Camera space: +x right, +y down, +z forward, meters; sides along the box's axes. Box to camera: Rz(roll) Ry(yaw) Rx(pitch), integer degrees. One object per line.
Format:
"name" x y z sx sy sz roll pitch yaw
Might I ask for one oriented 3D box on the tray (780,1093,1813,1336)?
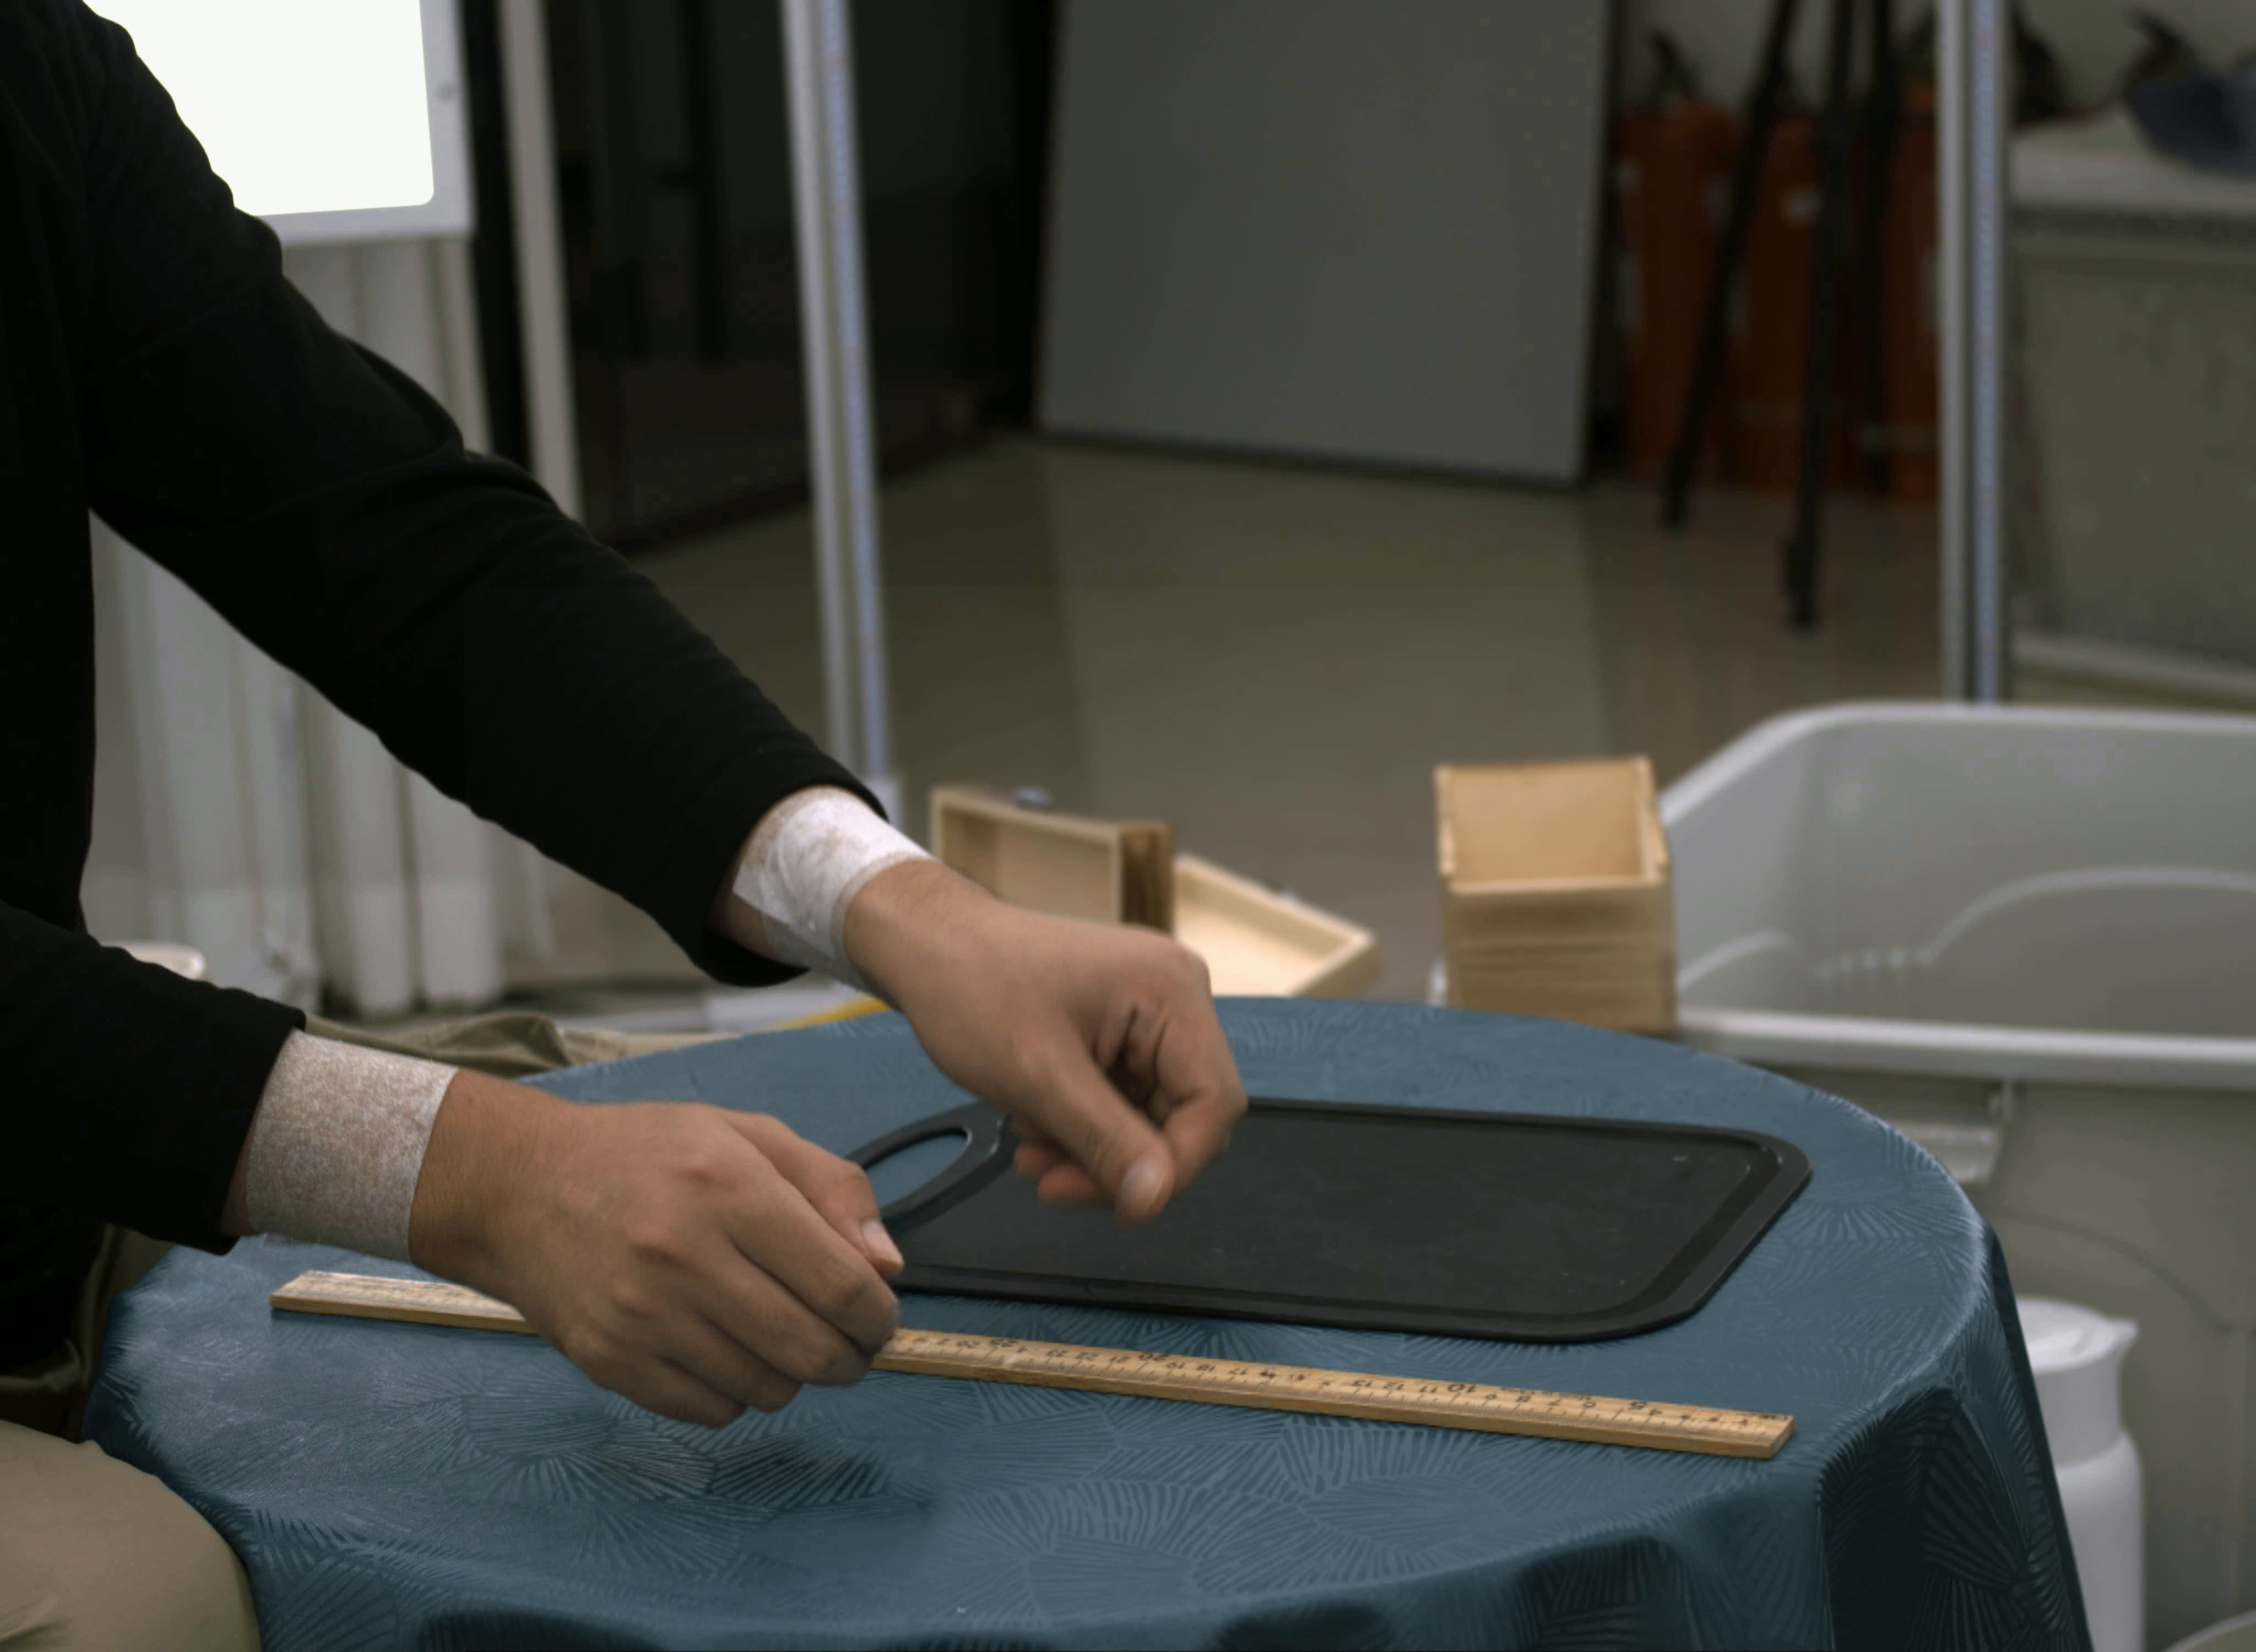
"tray" 0.048 0.121 1.741 0.326 0.010 0.208 2 15 24

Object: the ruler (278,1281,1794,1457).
"ruler" -0.040 0.160 1.613 0.501 0.006 0.026 3 13 27
